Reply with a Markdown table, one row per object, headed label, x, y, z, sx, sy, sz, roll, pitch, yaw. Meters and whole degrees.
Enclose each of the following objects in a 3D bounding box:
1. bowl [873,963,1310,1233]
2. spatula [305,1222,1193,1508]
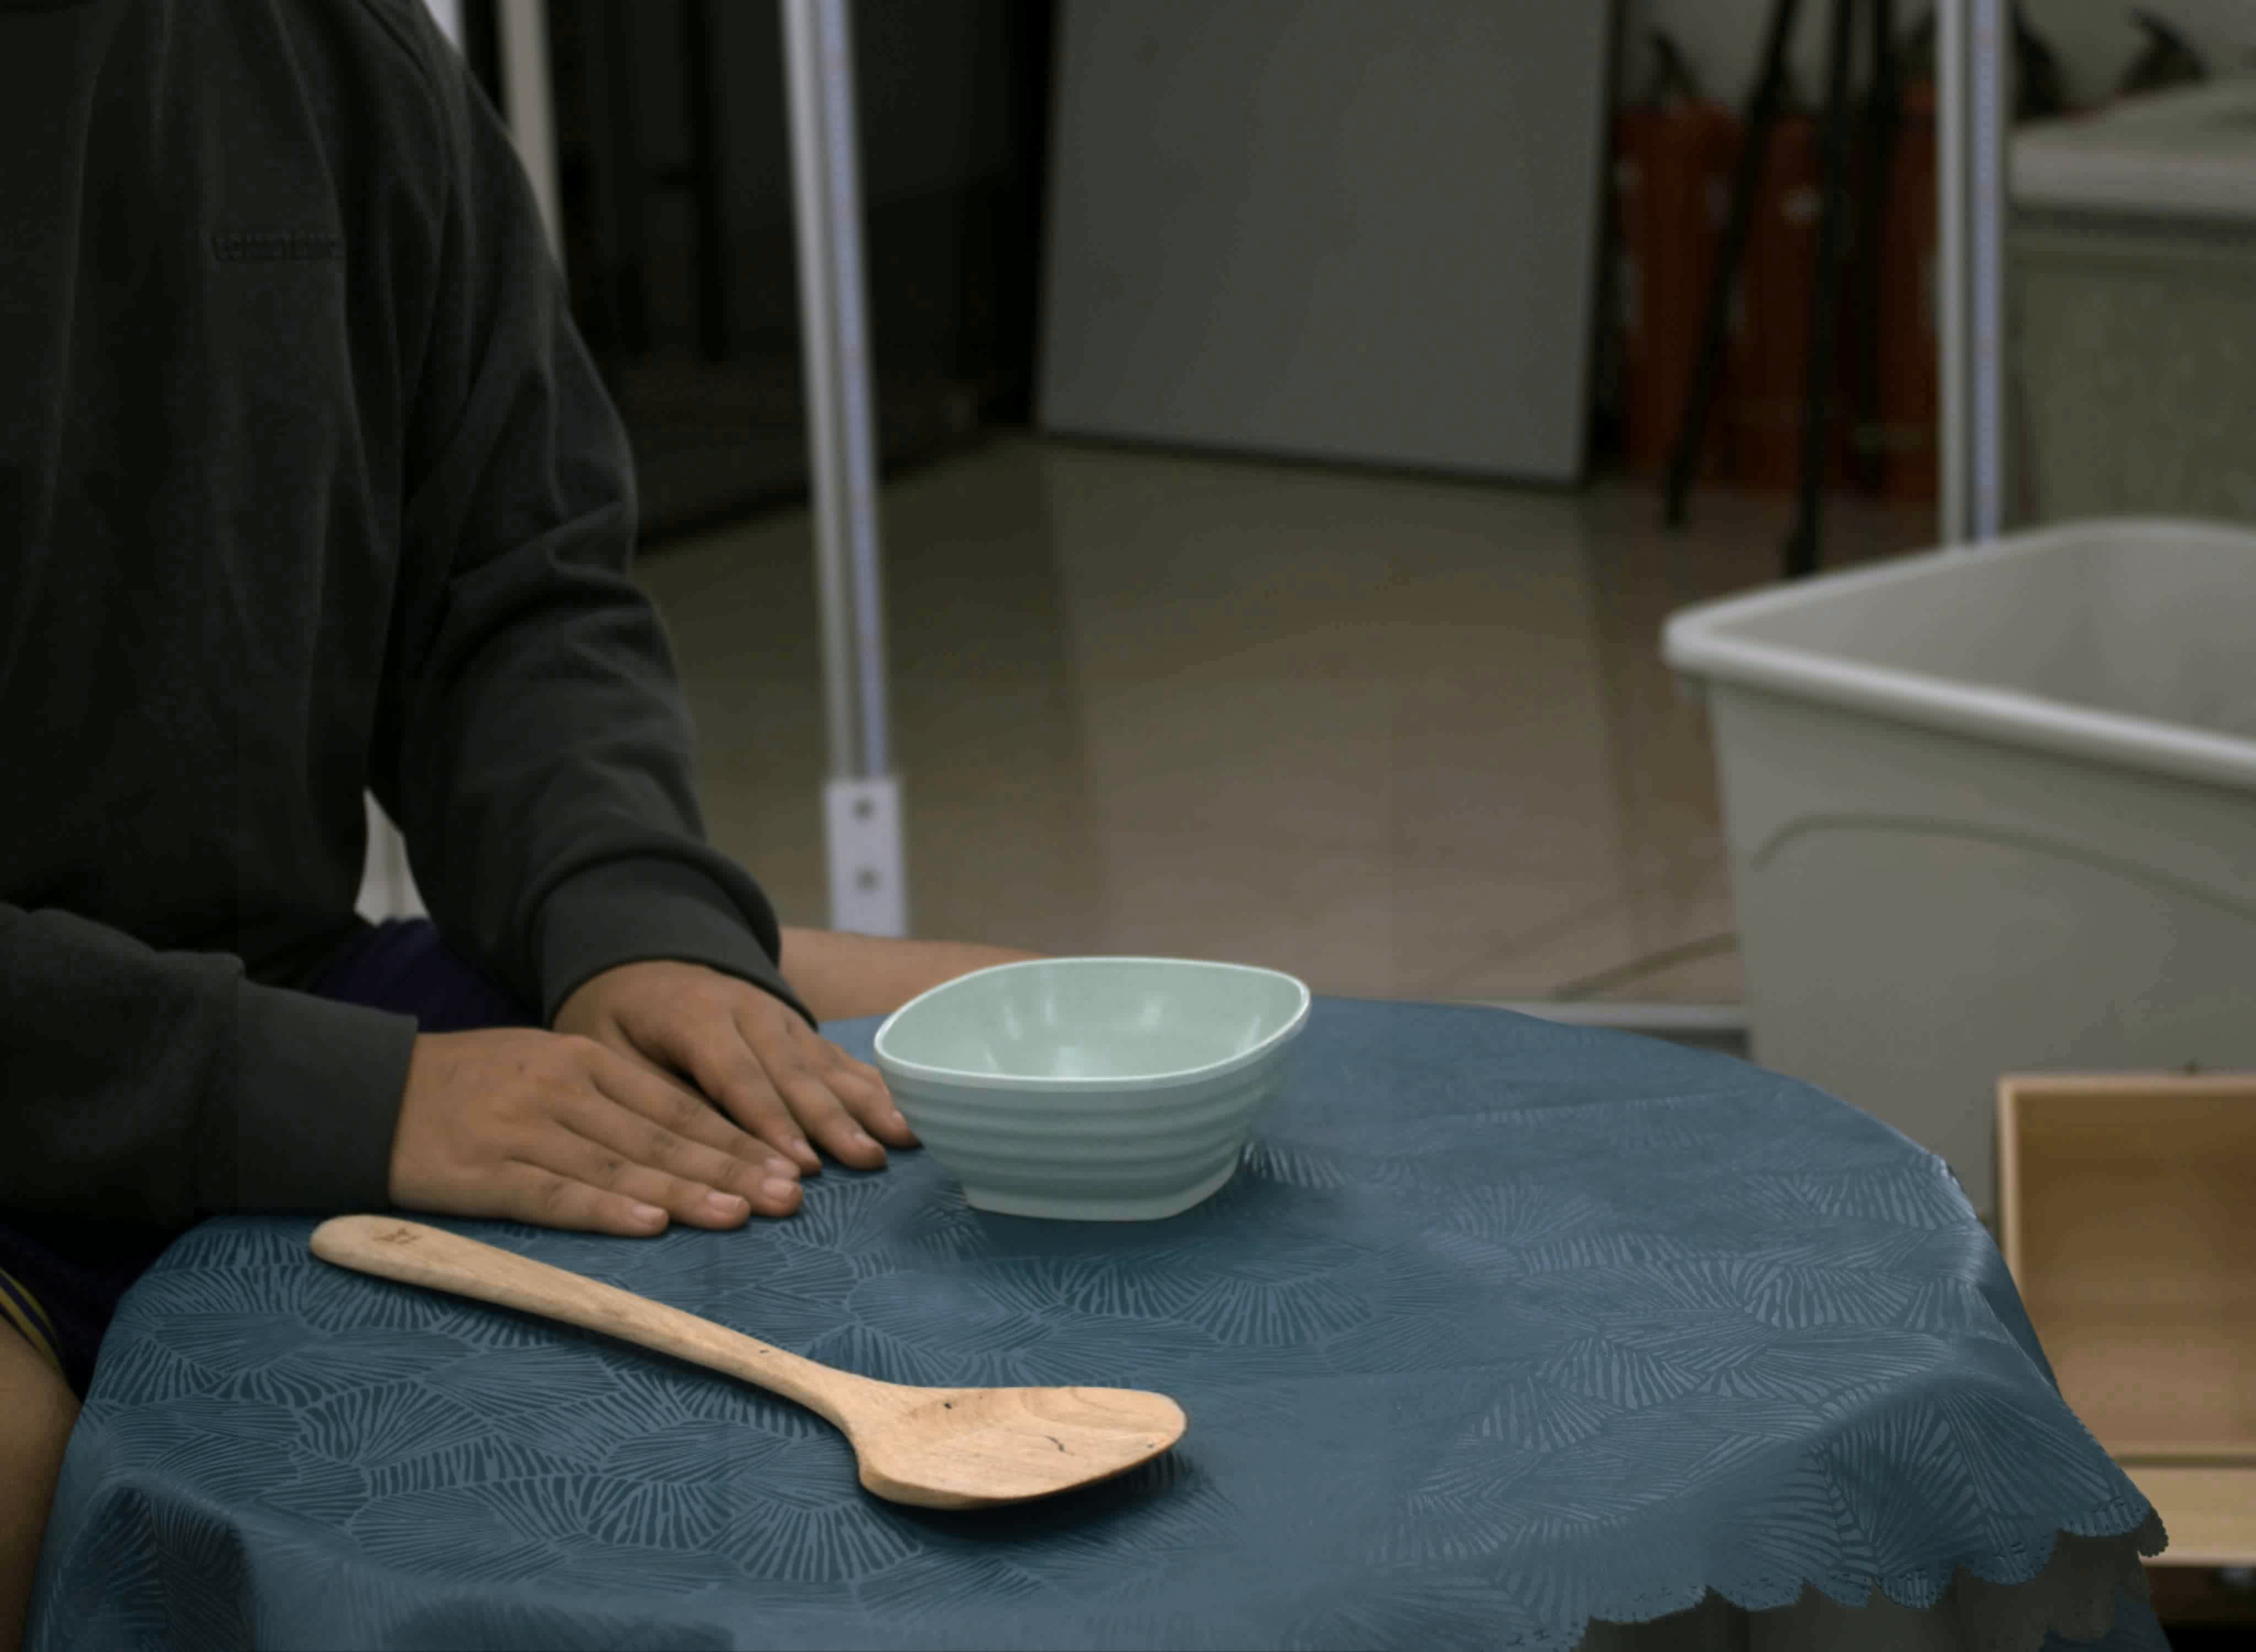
| label | x | y | z | sx | sy | sz | roll | pitch | yaw |
| --- | --- | --- | --- | --- | --- | --- | --- | --- | --- |
| bowl | -0.011 | 0.092 | 1.776 | 0.149 | 0.059 | 0.152 | -2 | 14 | 0 |
| spatula | -0.135 | 0.157 | 1.624 | 0.094 | 0.018 | 0.394 | -13 | 17 | -41 |
